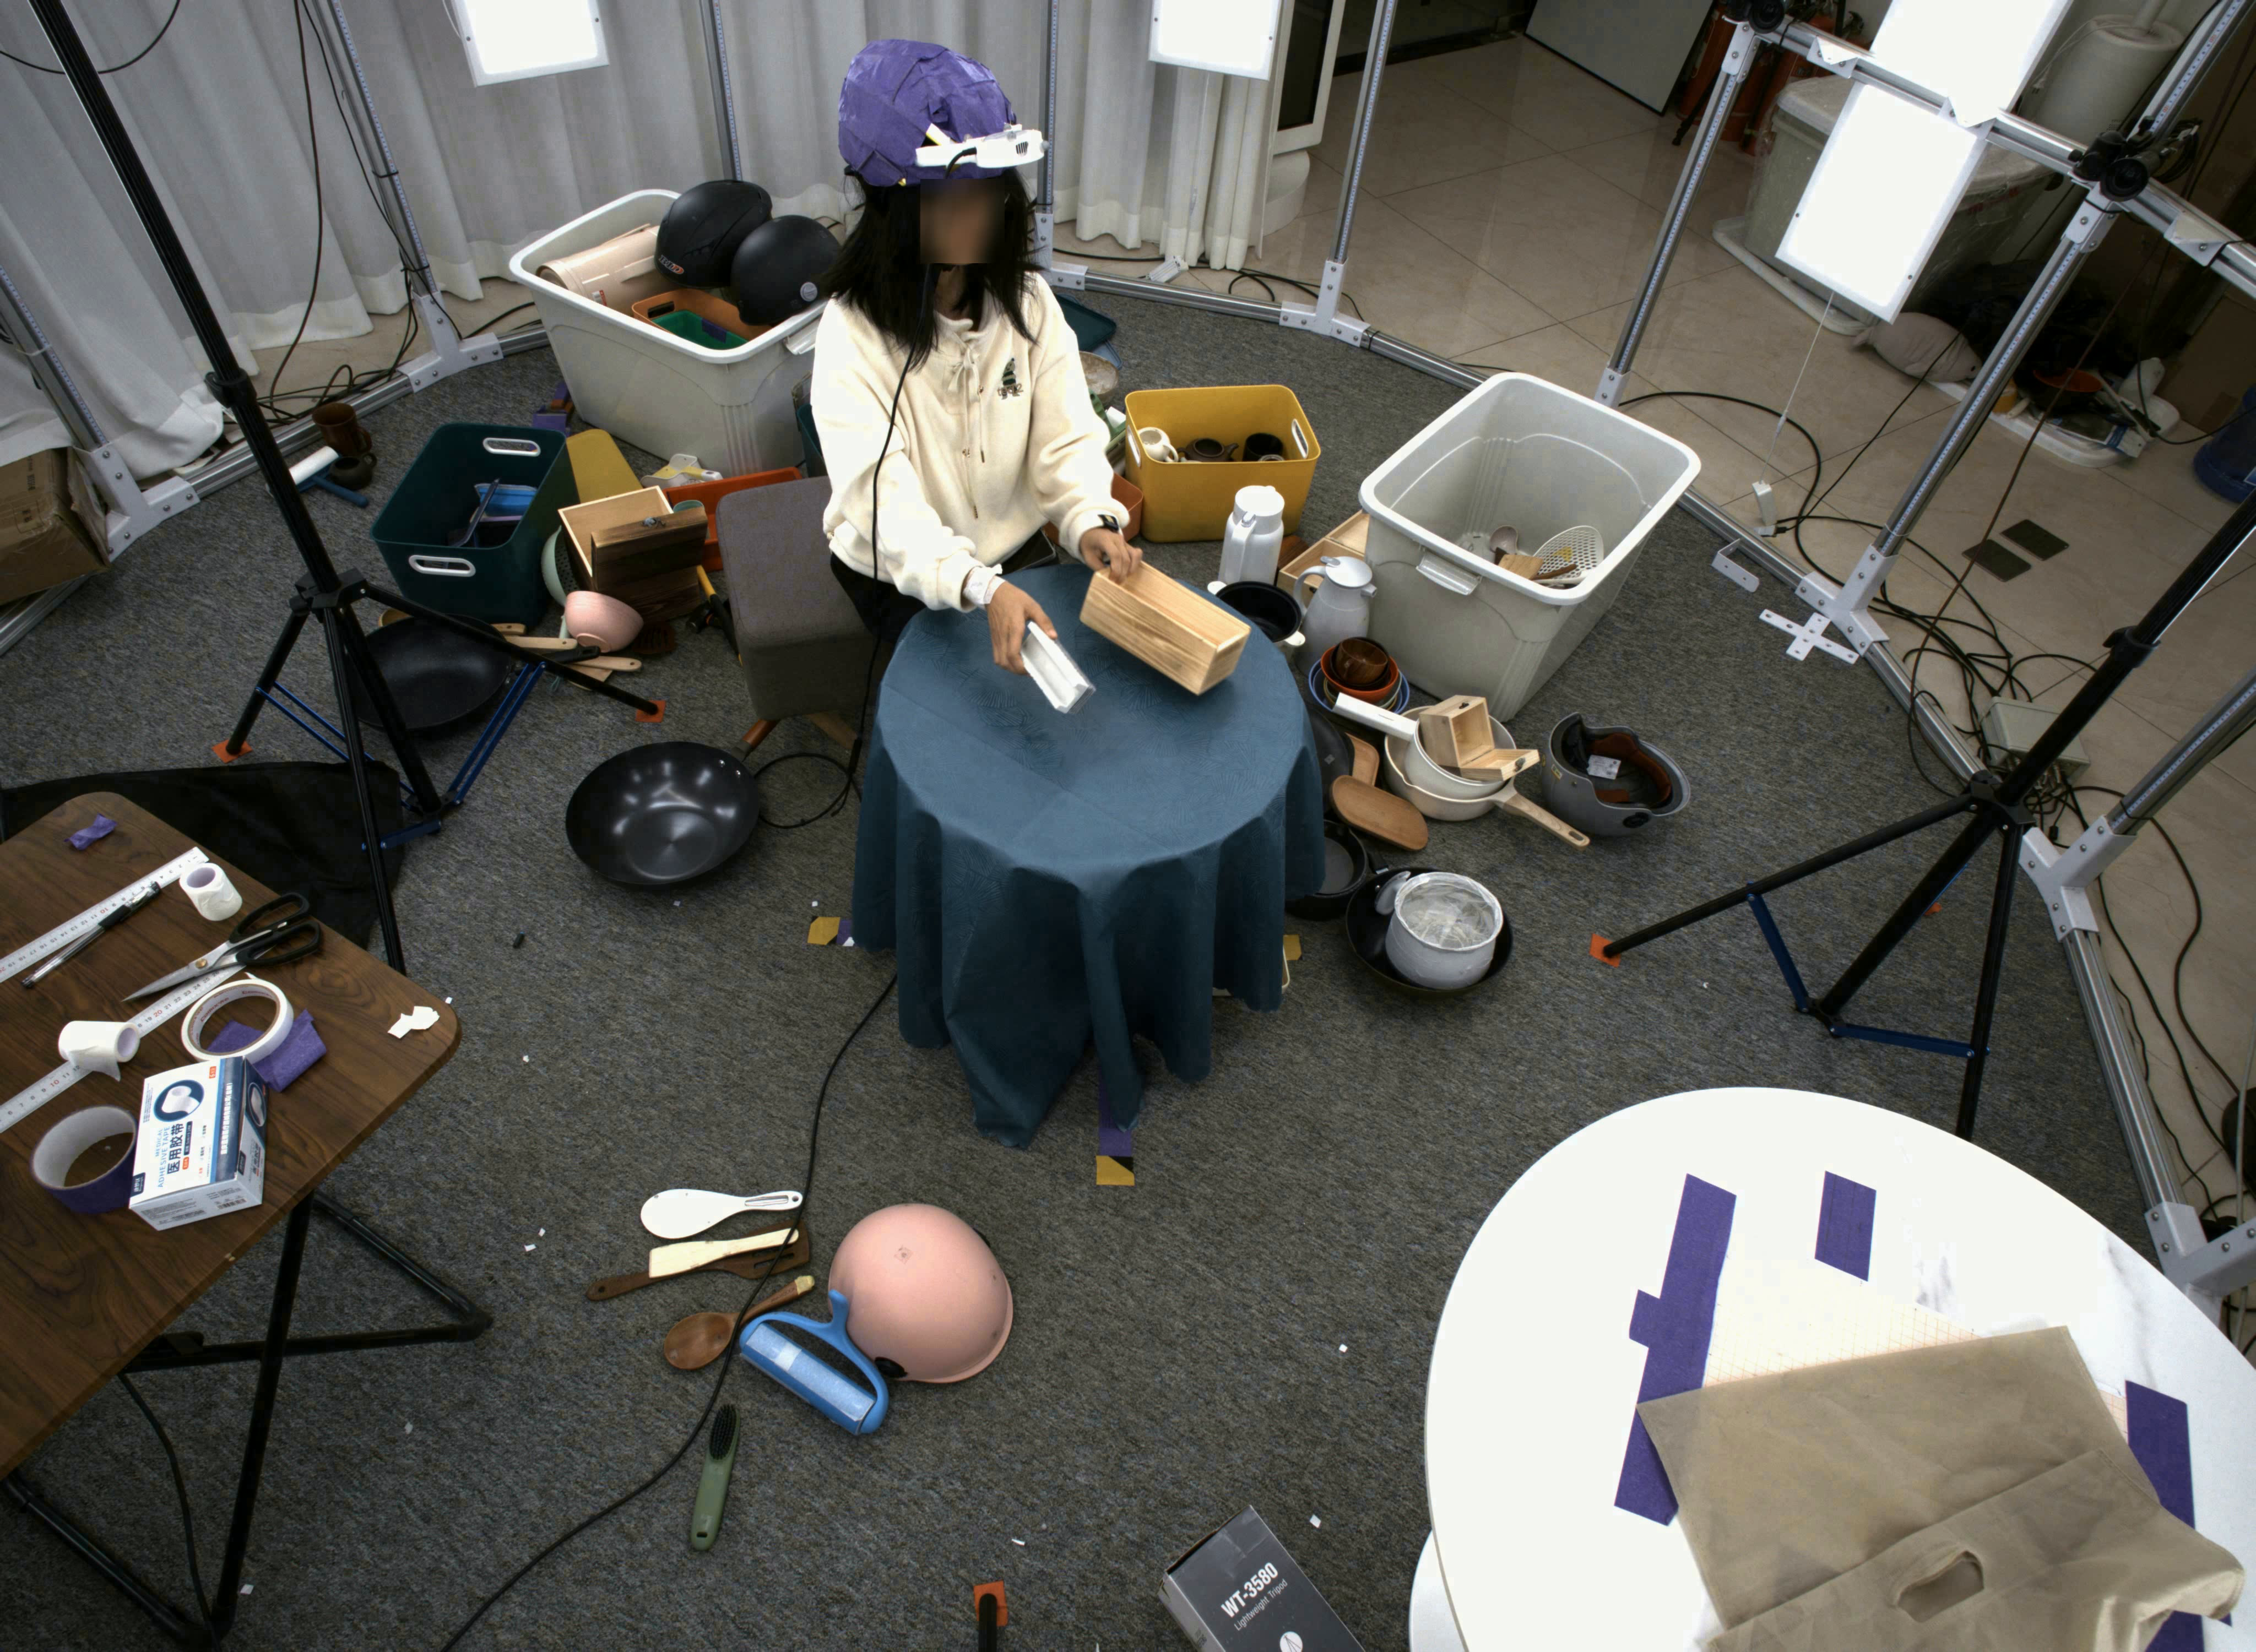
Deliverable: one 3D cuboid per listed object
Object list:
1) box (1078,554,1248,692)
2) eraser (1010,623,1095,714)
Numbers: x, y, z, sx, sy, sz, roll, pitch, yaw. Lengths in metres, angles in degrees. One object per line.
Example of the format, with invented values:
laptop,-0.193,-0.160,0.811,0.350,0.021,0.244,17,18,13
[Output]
box,0.048,-0.292,1.830,0.213,0.078,0.108,34,36,16
eraser,-0.102,-0.213,1.732,0.046,0.049,0.137,12,31,-49
